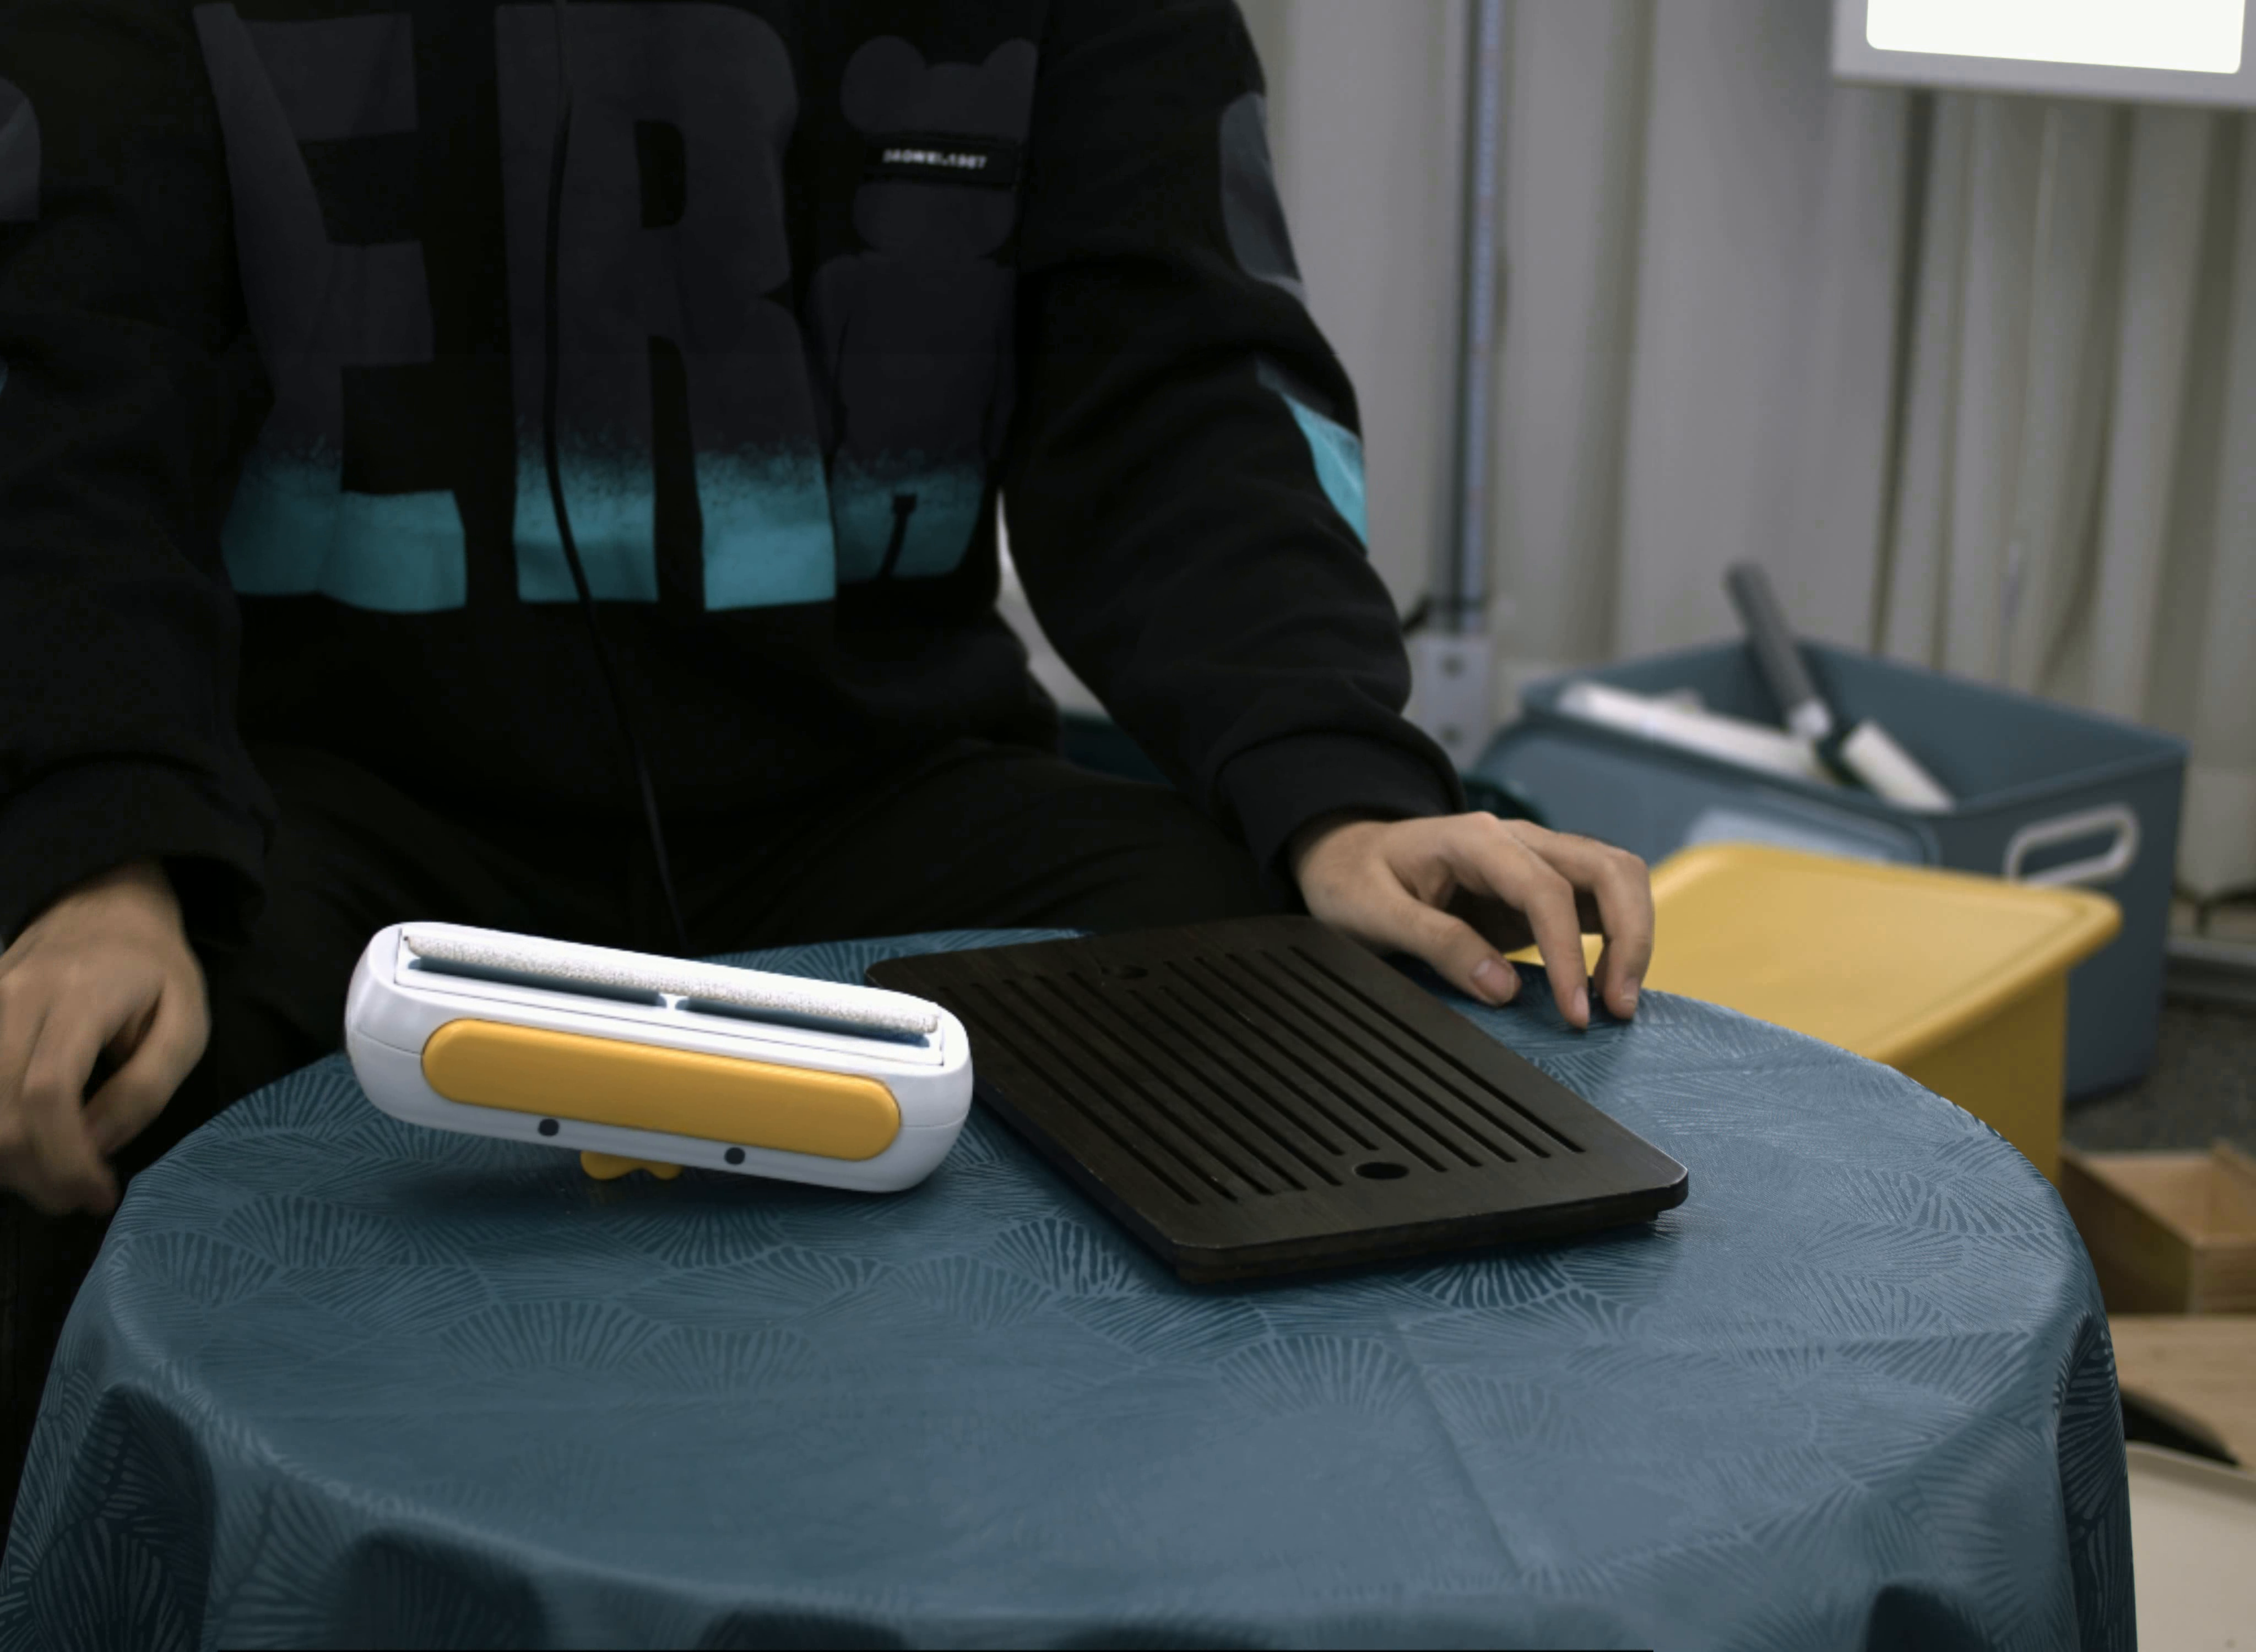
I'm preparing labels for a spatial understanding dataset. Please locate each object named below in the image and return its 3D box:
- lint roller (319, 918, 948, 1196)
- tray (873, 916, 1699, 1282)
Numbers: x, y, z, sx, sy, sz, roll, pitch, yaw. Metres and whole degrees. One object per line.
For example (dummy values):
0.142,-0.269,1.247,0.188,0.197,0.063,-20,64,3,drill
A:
-0.154,0.063,1.667,0.192,0.075,0.191,6,14,-5,lint roller
0.043,0.084,1.690,0.170,0.019,0.302,-6,17,-21,tray
